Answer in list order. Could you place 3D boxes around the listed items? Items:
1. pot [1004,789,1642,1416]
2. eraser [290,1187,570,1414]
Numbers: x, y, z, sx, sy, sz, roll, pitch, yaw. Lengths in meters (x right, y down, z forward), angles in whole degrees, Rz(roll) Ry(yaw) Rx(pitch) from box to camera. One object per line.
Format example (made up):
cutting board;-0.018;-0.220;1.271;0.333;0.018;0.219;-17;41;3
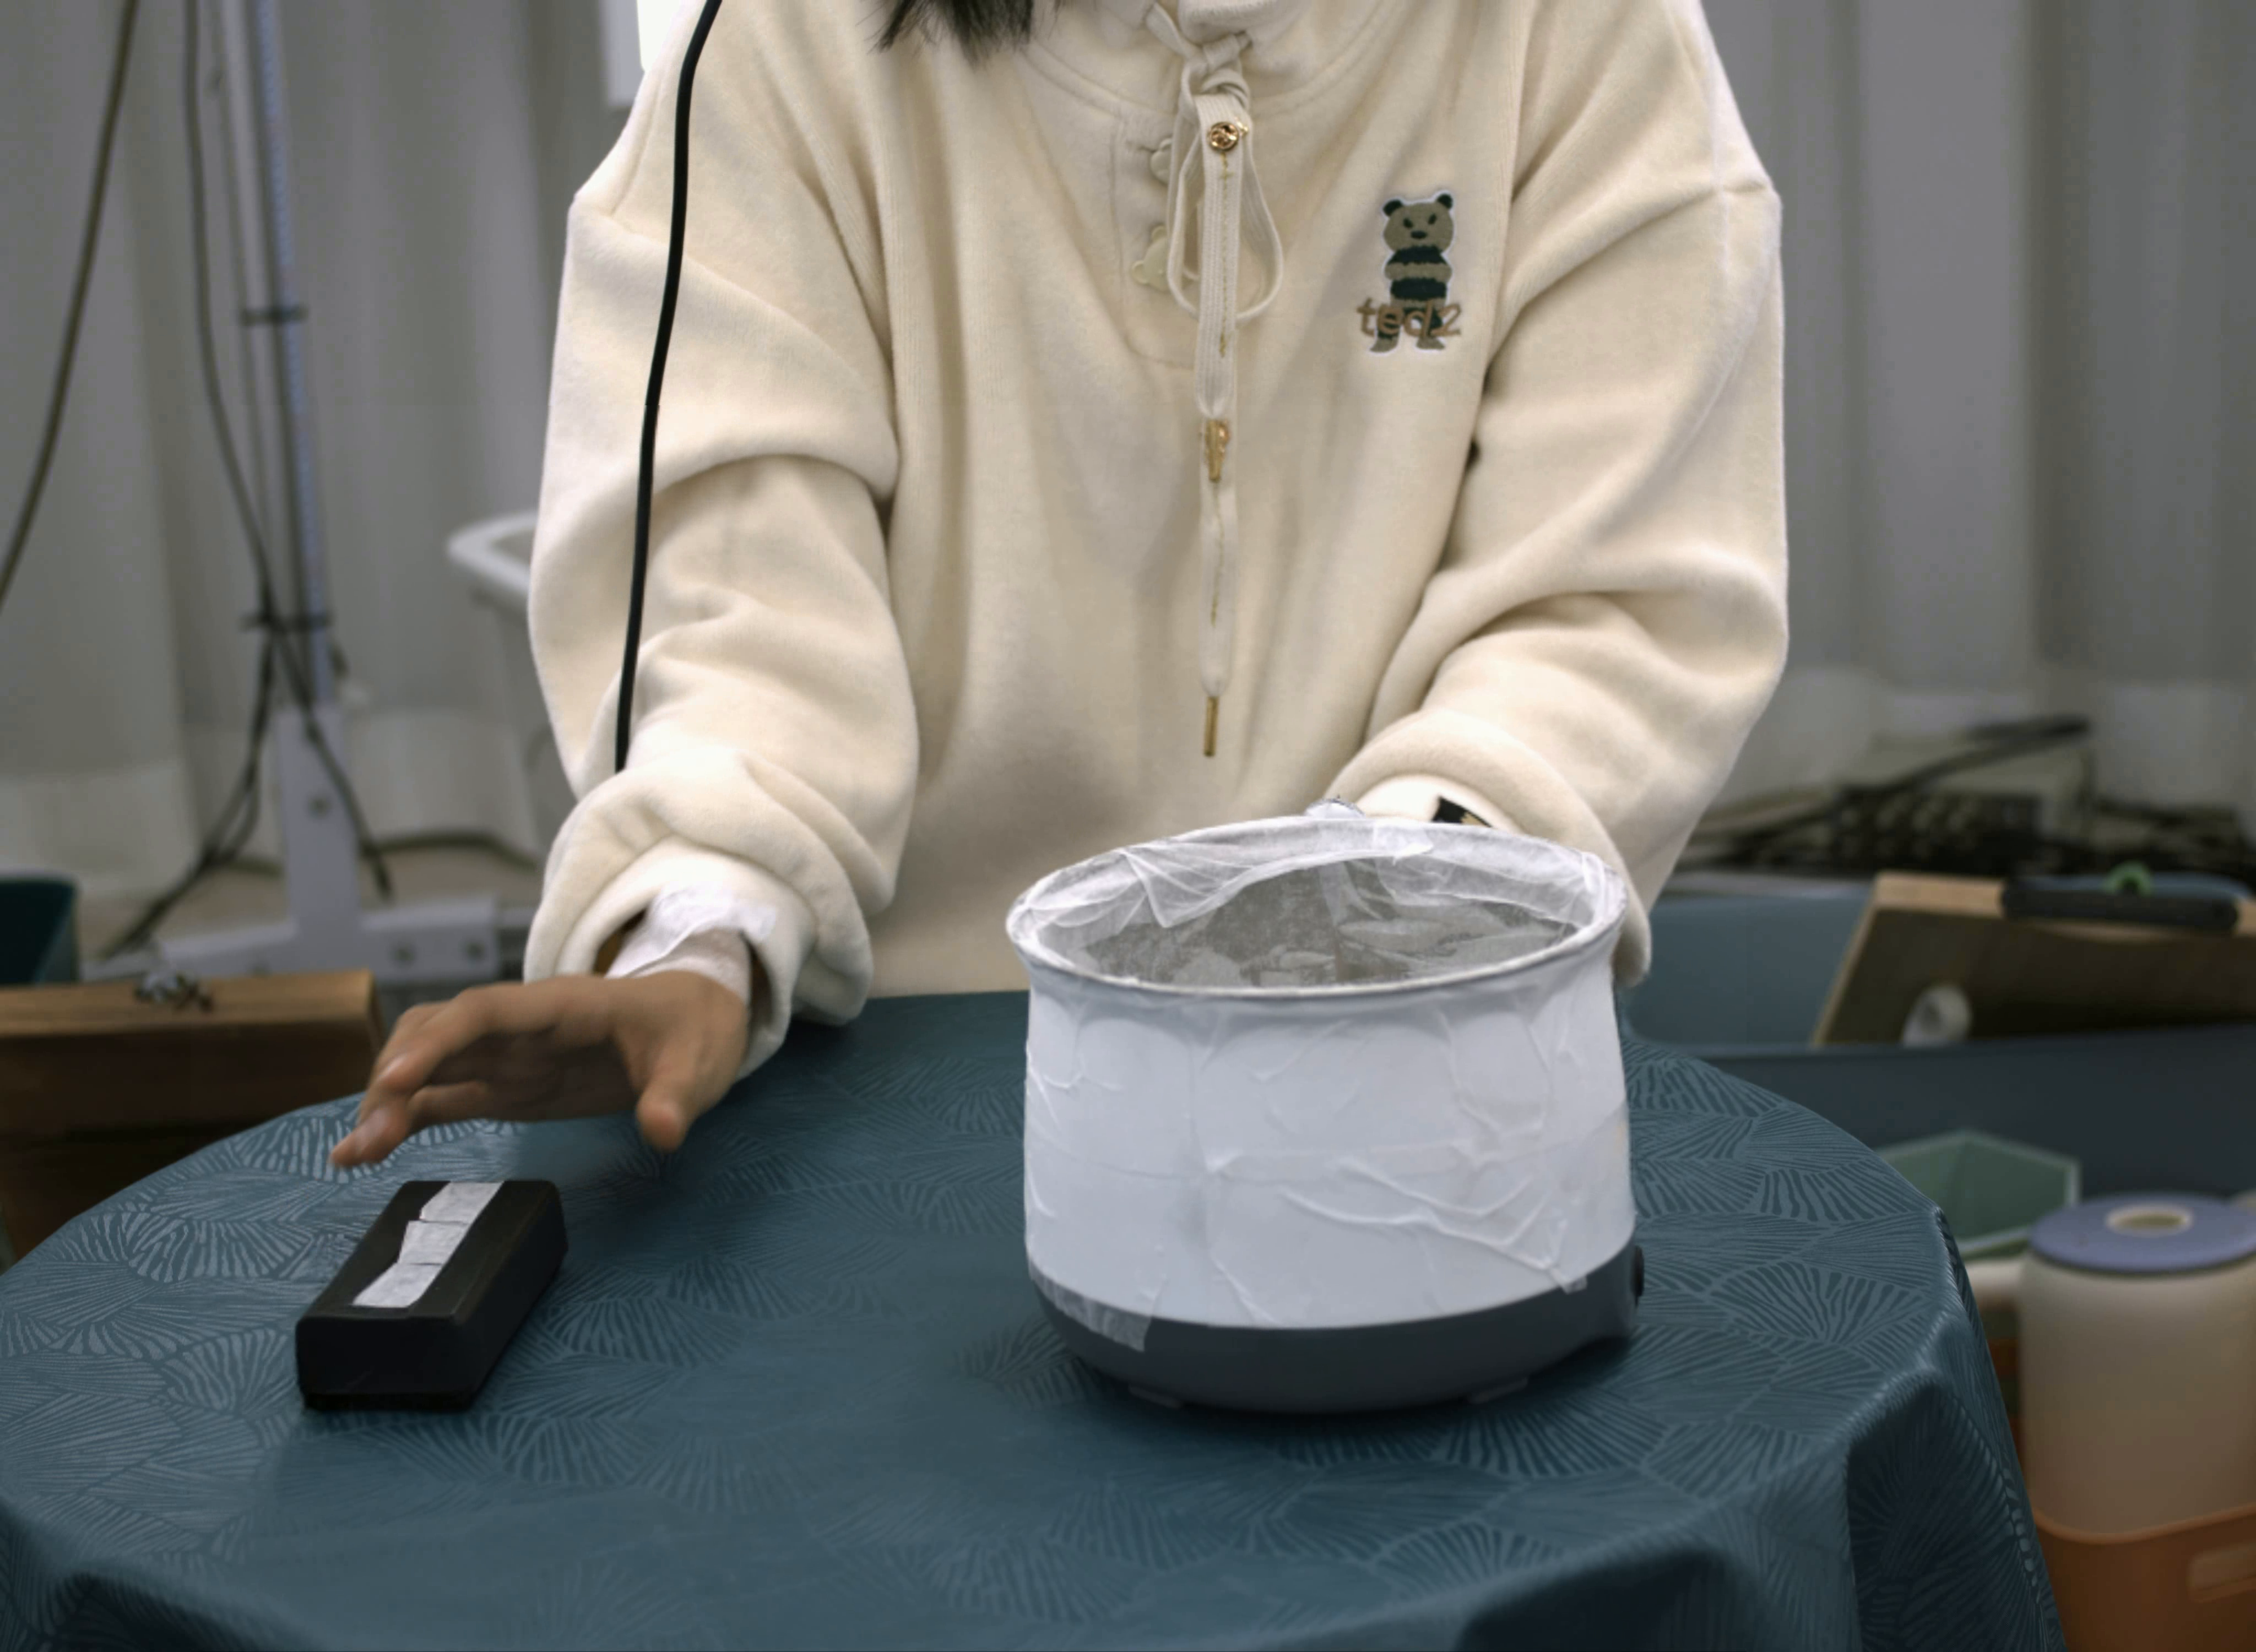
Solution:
pot;0.058;0.074;1.587;0.178;0.136;0.235;-2;15;4
eraser;-0.203;0.139;1.611;0.053;0.030;0.126;0;14;8
